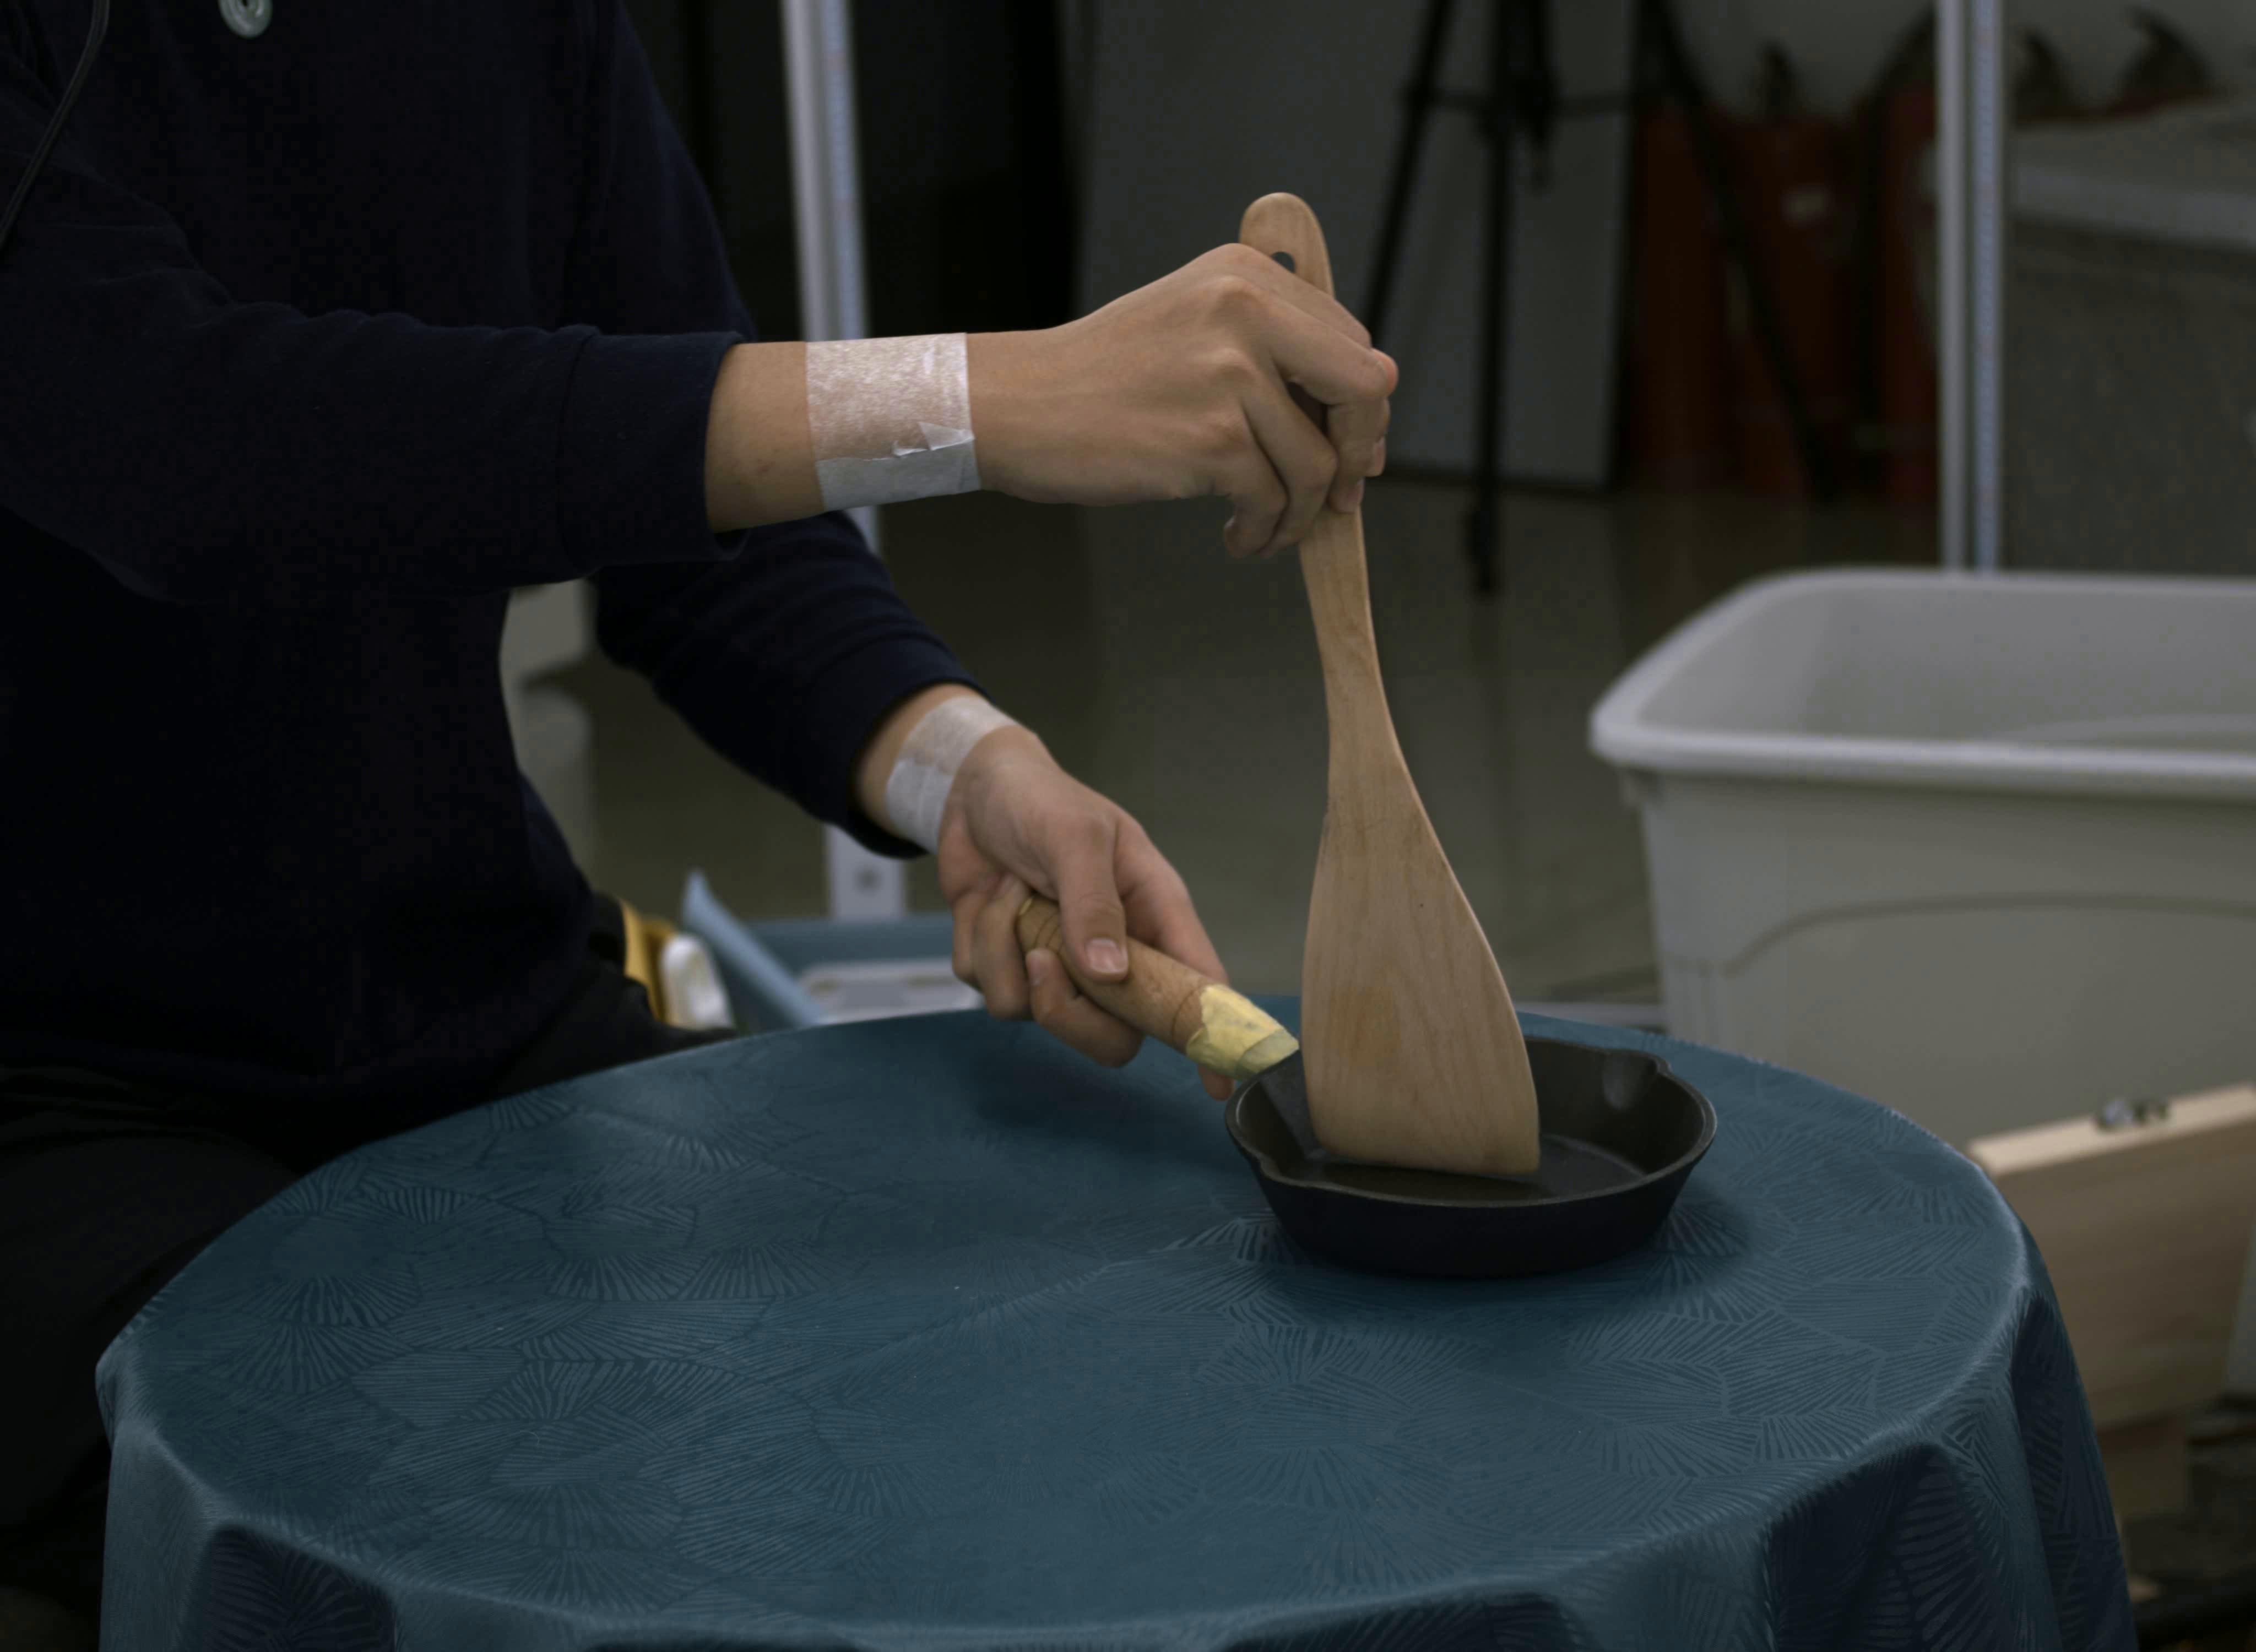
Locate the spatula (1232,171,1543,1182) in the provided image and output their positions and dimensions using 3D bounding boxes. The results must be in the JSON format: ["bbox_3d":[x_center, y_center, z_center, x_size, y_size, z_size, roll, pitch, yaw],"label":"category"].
[{"bbox_3d":[0.071,-0.043,1.715,0.080,0.331,0.016,-7,8,21],"label":"spatula"}]

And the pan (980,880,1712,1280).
[{"bbox_3d":[0.056,0.079,1.775,0.165,0.050,0.327,-14,22,-35],"label":"pan"}]
